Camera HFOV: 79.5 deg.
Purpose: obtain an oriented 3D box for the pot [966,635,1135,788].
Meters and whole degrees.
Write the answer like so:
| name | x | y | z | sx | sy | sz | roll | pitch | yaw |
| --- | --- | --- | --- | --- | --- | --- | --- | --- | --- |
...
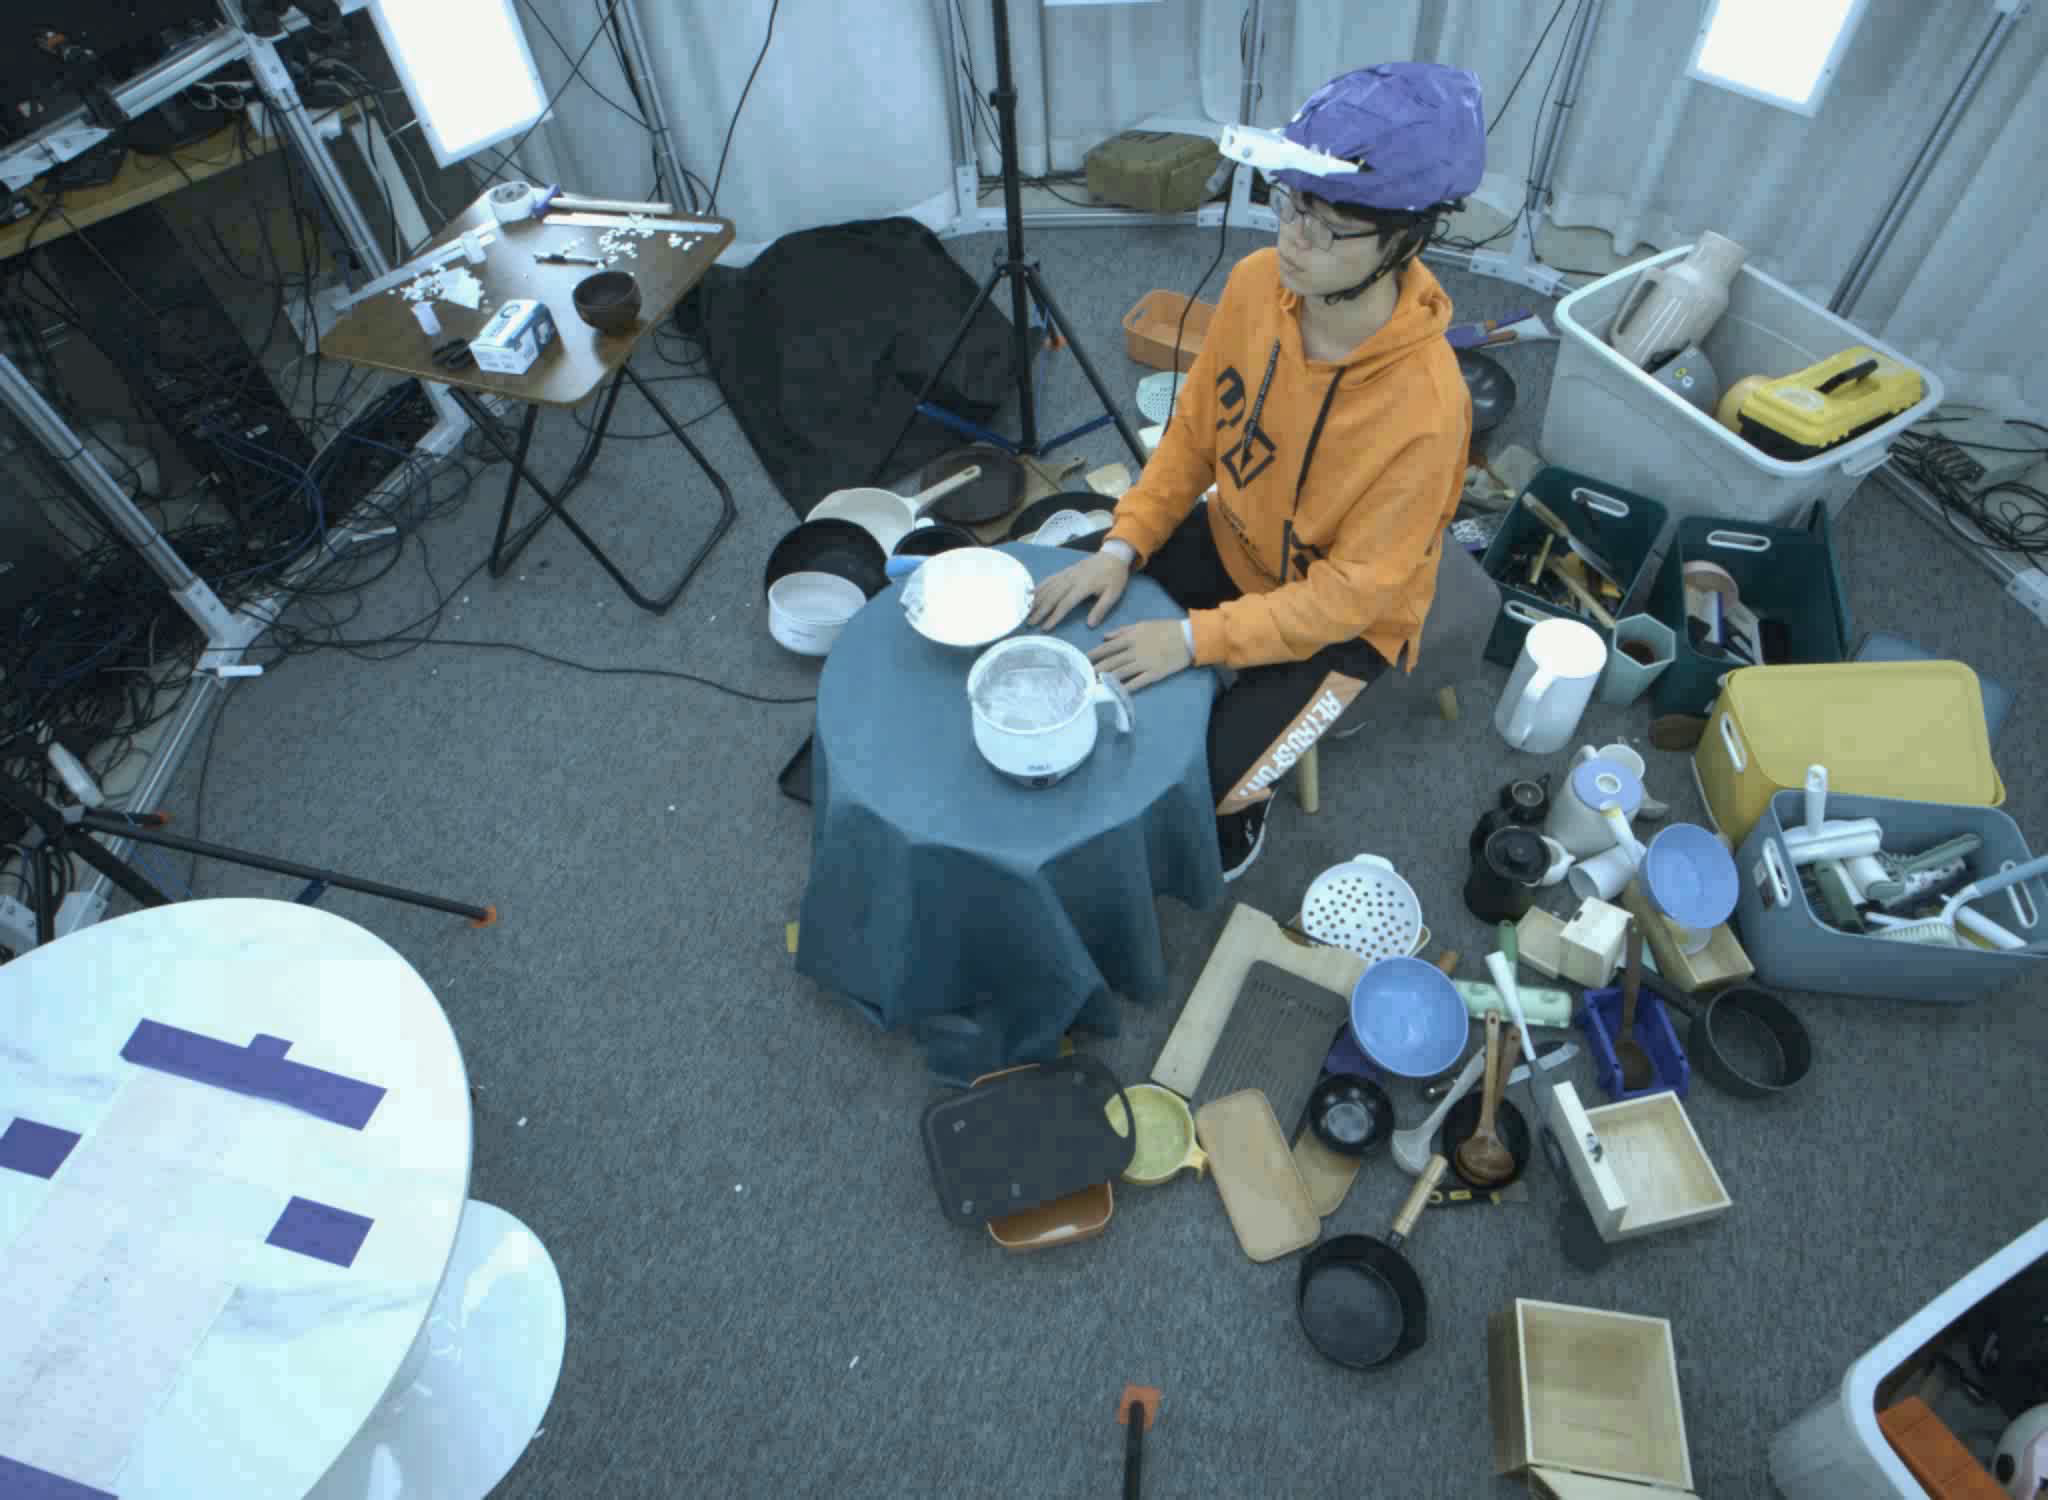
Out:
| name | x | y | z | sx | sy | sz | roll | pitch | yaw |
| --- | --- | --- | --- | --- | --- | --- | --- | --- | --- |
| pot | 0.041 | -0.057 | 1.741 | 0.234 | 0.138 | 0.176 | -7 | 55 | -2 |

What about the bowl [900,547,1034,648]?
| name | x | y | z | sx | sy | sz | roll | pitch | yaw |
| --- | --- | --- | --- | --- | --- | --- | --- | --- | --- |
| bowl | -0.086 | -0.215 | 1.896 | 0.204 | 0.079 | 0.202 | 0 | 54 | 1 |
